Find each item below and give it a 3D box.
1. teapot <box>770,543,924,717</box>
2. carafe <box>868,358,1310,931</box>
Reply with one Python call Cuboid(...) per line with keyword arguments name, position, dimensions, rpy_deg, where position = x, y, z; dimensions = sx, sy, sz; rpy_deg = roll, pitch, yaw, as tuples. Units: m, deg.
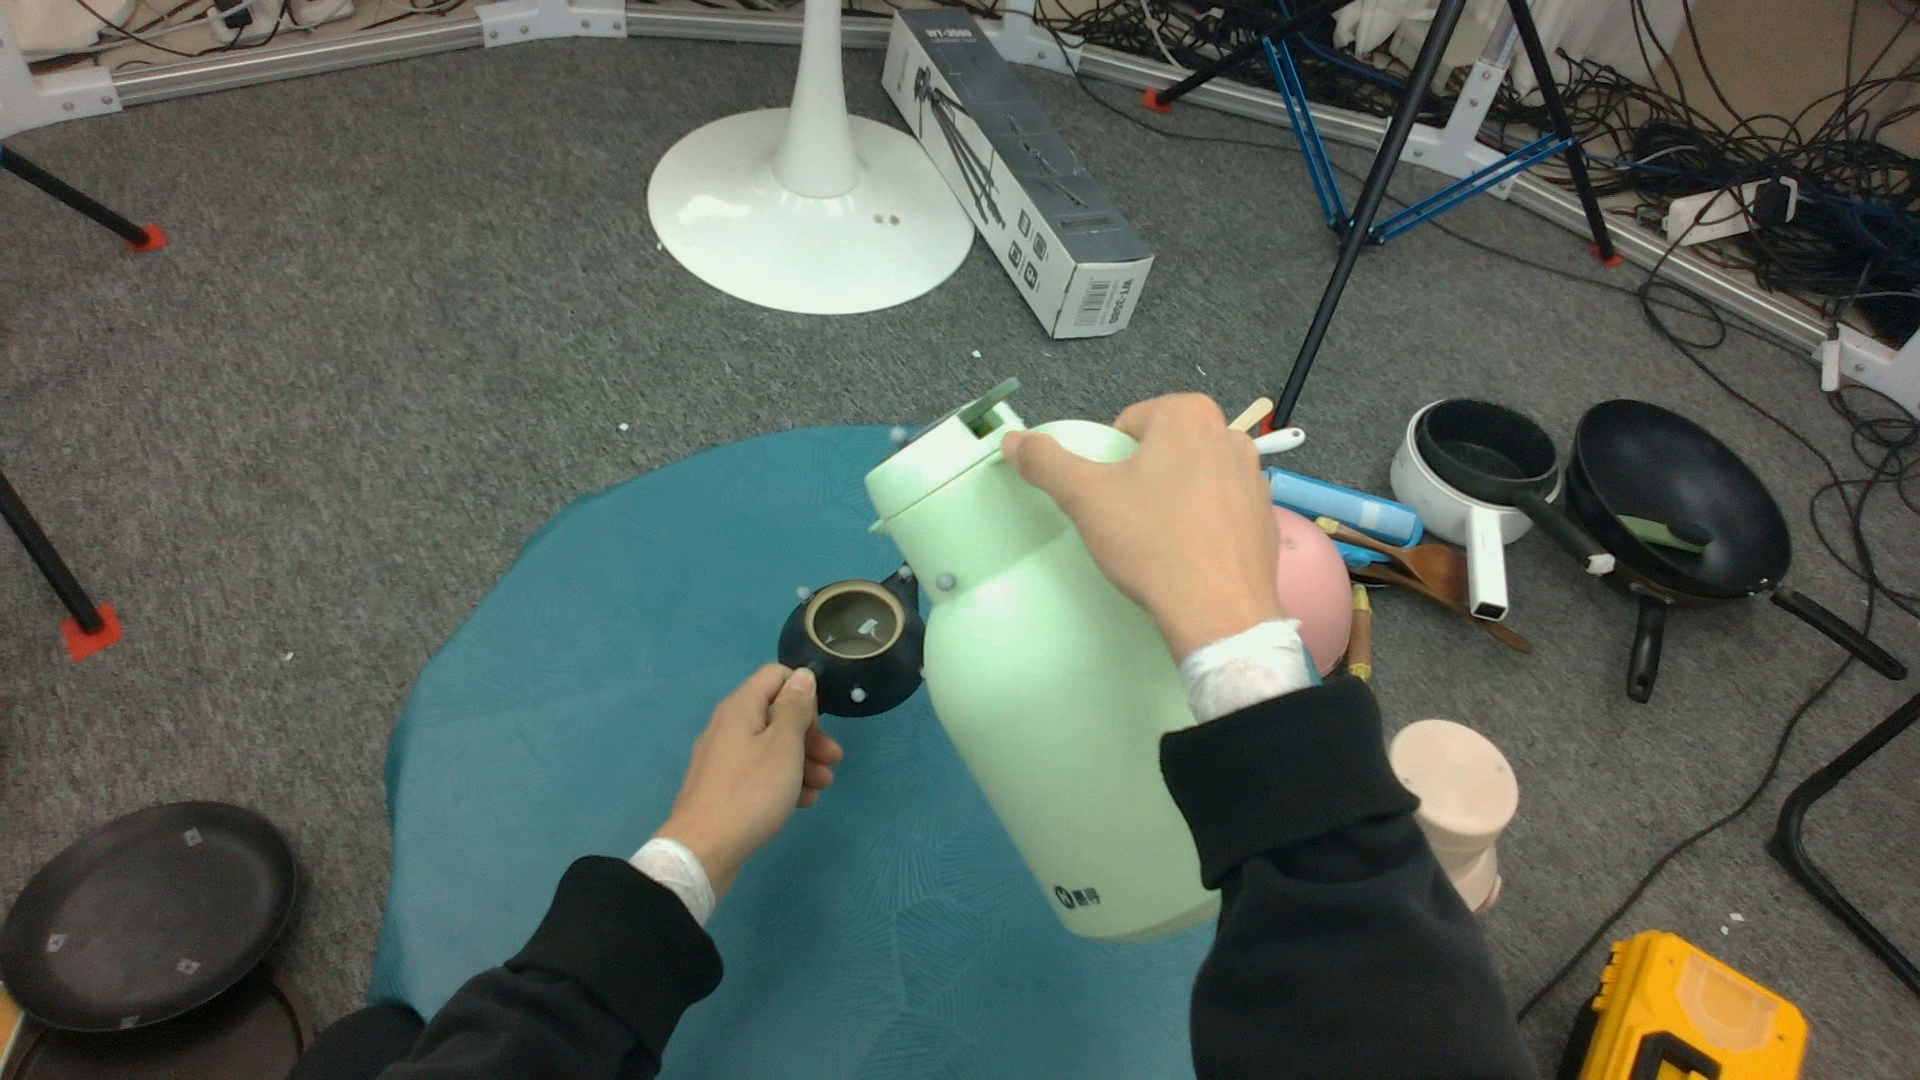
Cuboid(name="teapot", position=(-0.067, 0.057, 0.813), dimensions=(0.091, 0.053, 0.134), rpy_deg=(25, 49, 20))
Cuboid(name="carafe", position=(0.060, 0.043, 0.652), dimensions=(0.145, 0.186, 0.256), rpy_deg=(-35, 100, -42))
